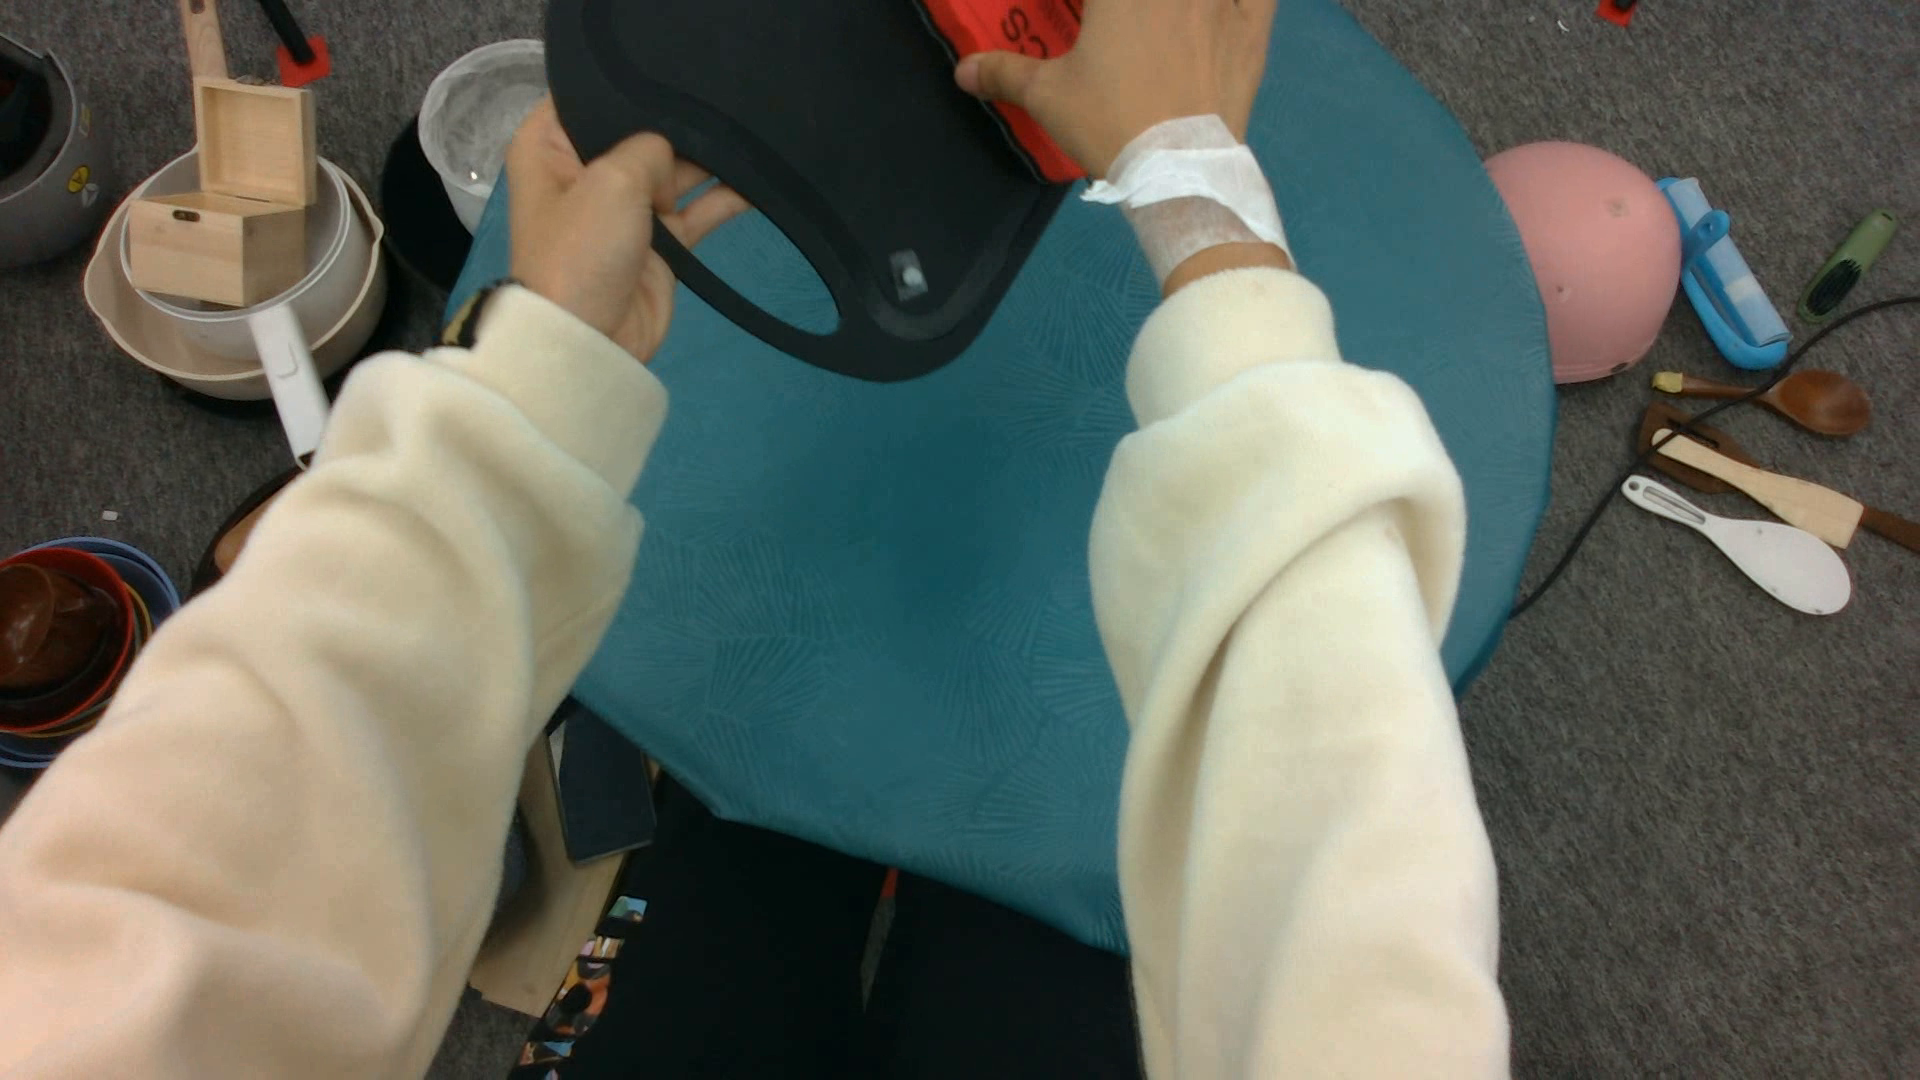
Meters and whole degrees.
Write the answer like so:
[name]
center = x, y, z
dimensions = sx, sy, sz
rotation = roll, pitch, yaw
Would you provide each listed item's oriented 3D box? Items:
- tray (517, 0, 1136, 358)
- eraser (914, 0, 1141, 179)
[tray]
center = -0.024, -0.233, 0.537
dimensions = 0.211, 0.010, 0.326
rotation = 39, 71, -33
[eraser]
center = 0.026, -0.205, 0.561
dimensions = 0.059, 0.023, 0.108
rotation = -48, 119, -15
